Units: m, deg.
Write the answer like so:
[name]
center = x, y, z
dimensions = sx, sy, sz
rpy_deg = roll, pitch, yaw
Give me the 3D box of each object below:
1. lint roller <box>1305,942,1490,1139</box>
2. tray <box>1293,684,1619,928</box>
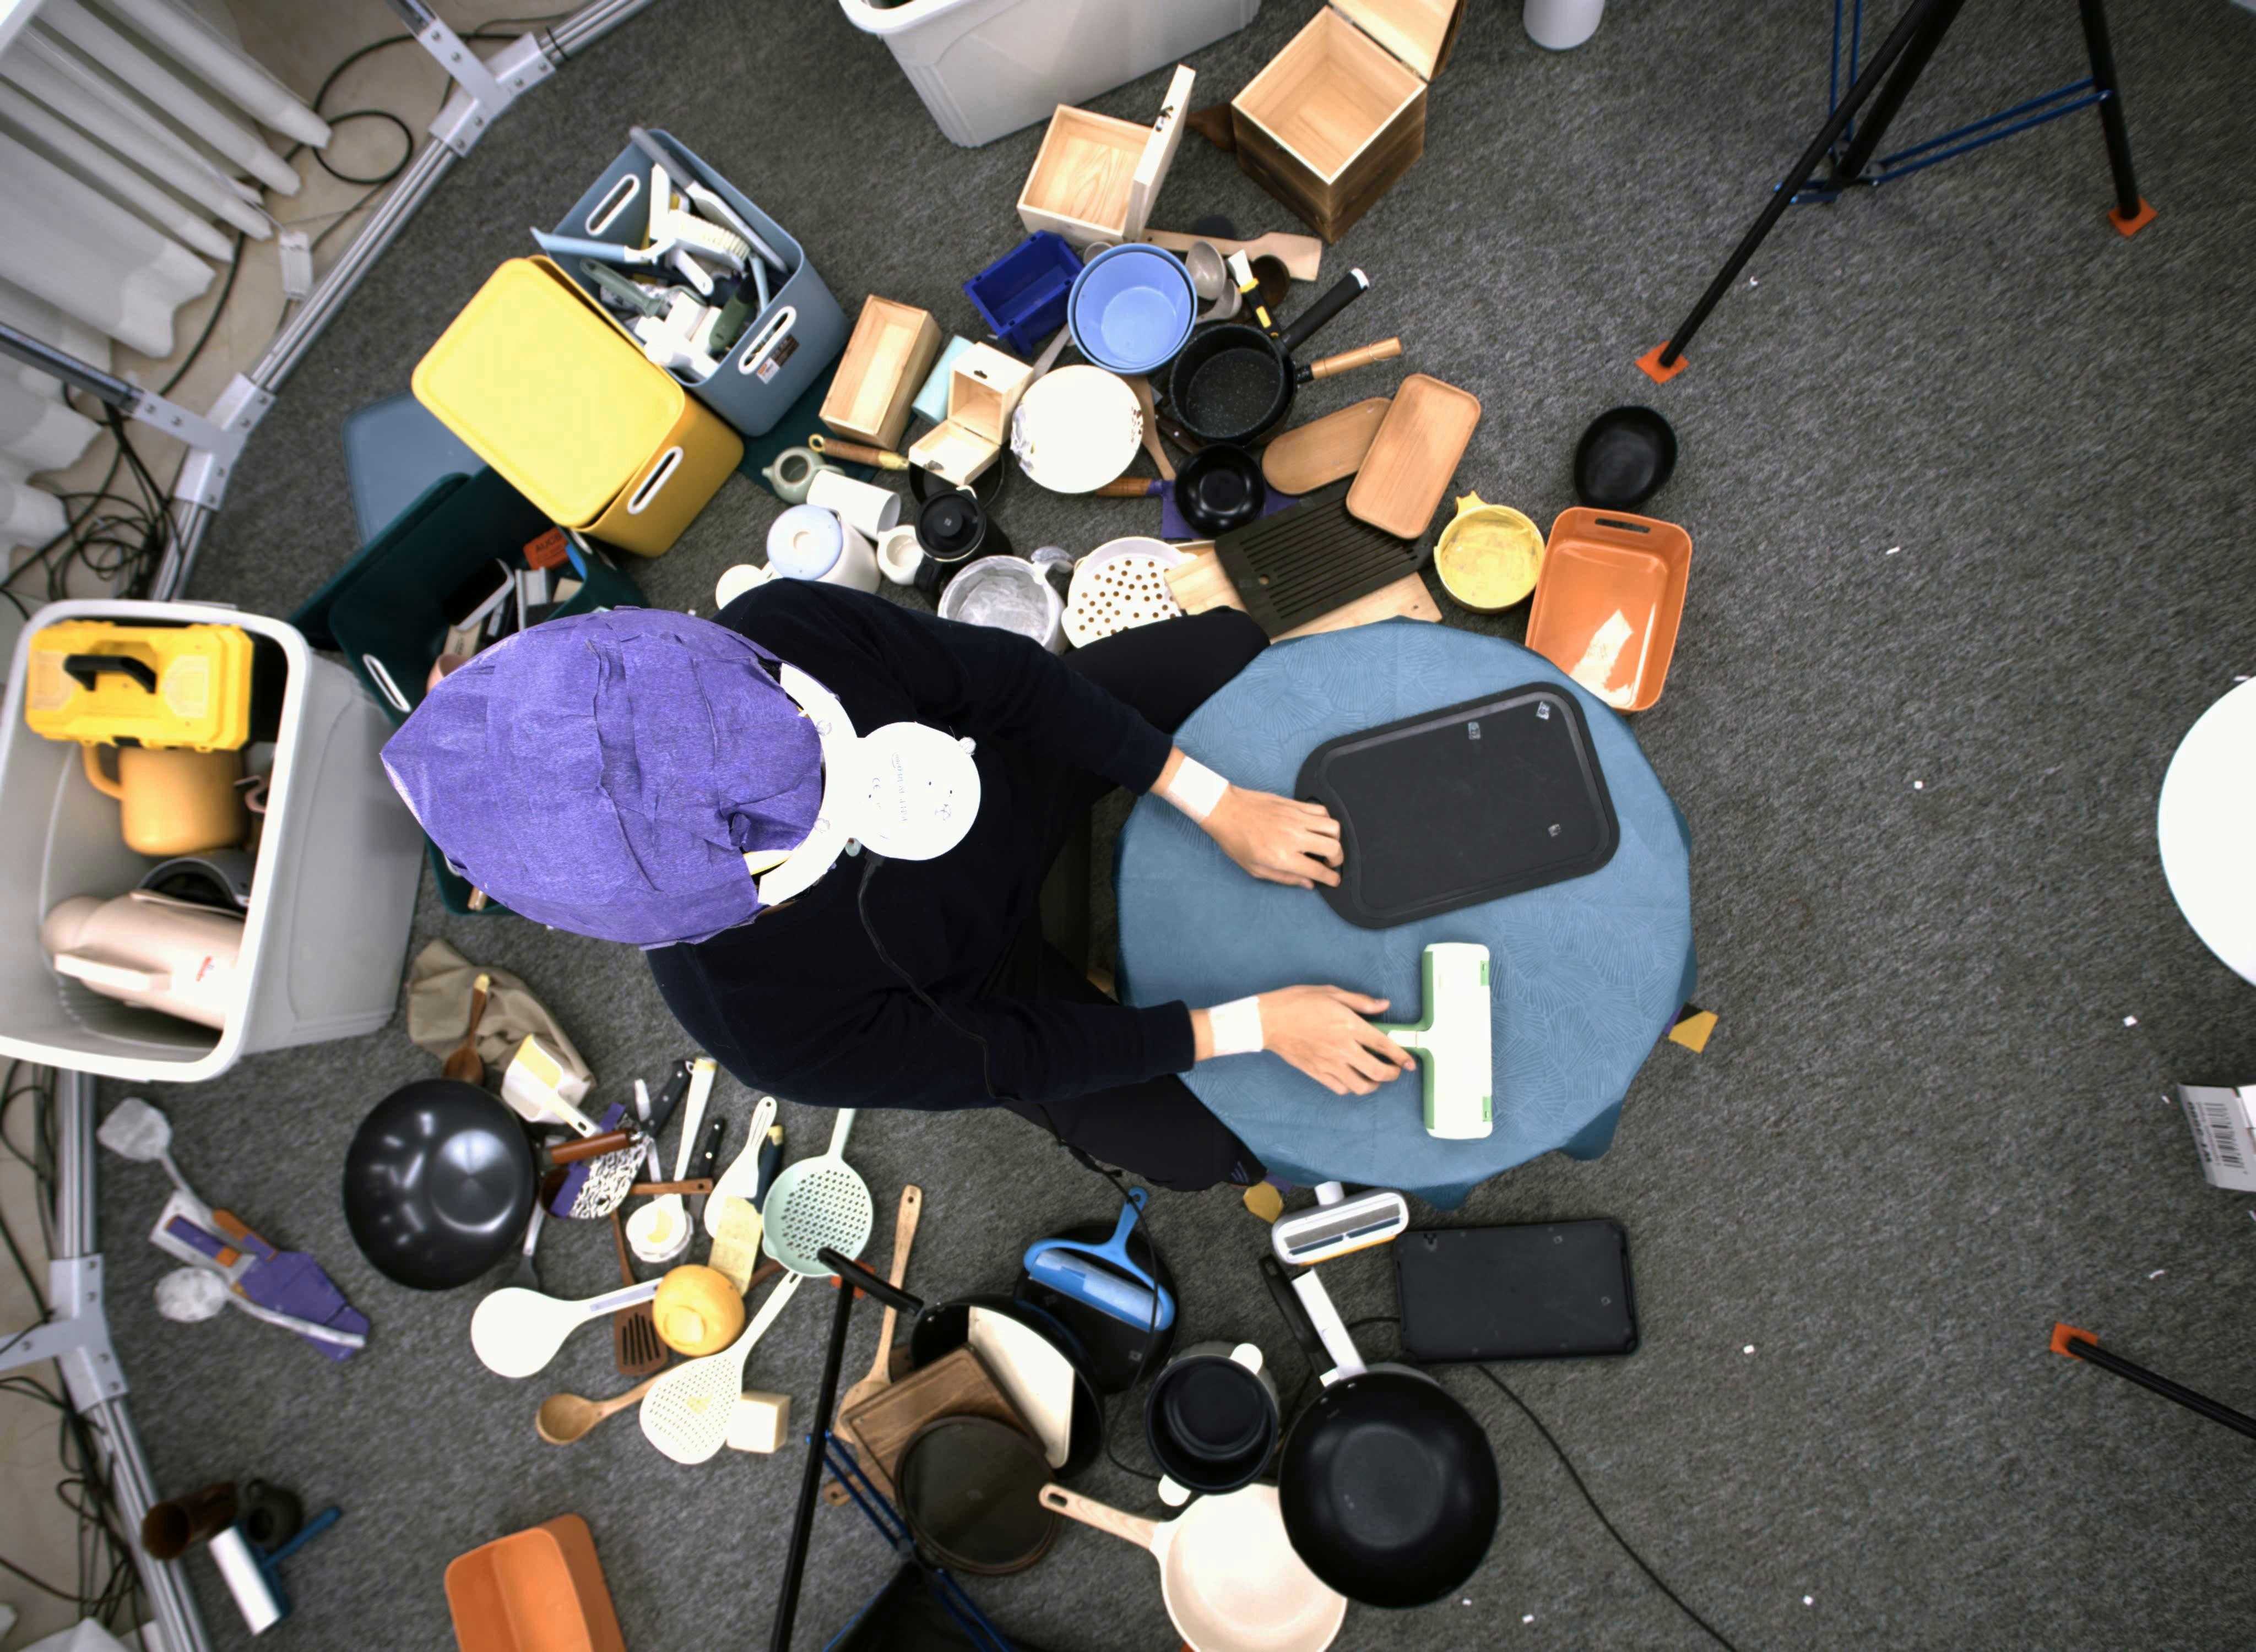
[lint roller]
center = 0.274, 0.216, 1.407
dimensions = 0.184, 0.082, 0.197
rpy_deg = 0, 85, 4
[tray]
center = 0.337, -0.020, 1.443
dimensions = 0.327, 0.010, 0.209
rpy_deg = -15, 83, 7
